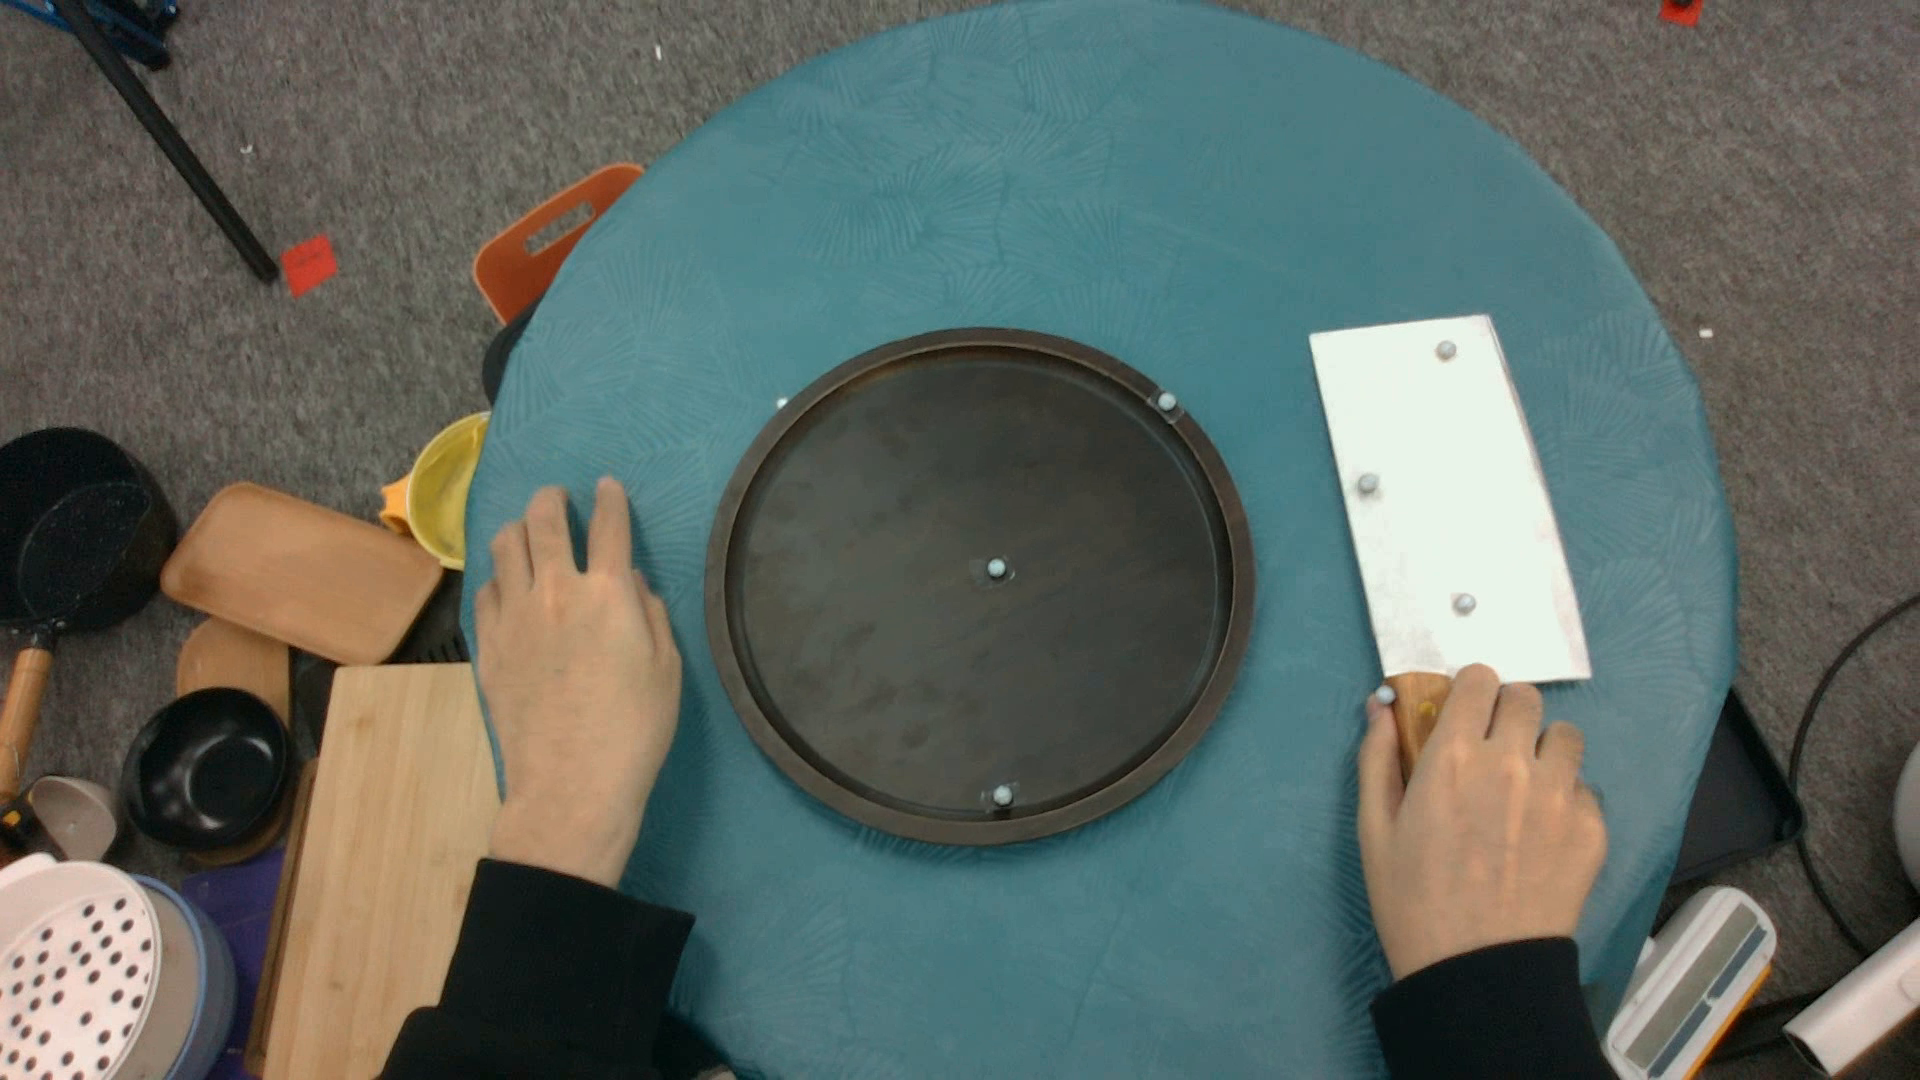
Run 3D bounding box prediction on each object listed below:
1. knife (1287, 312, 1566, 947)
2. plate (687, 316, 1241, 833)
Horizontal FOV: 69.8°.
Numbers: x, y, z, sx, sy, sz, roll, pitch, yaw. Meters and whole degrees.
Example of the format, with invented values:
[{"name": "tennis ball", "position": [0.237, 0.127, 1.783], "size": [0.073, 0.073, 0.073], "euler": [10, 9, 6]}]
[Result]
[{"name": "knife", "position": [0.221, 0.025, 0.626], "size": [0.093, 0.021, 0.307], "euler": [-5, 64, -2]}, {"name": "plate", "position": [0.002, 0.009, 0.635], "size": [0.255, 0.029, 0.255], "euler": [0, 66, 0]}]
